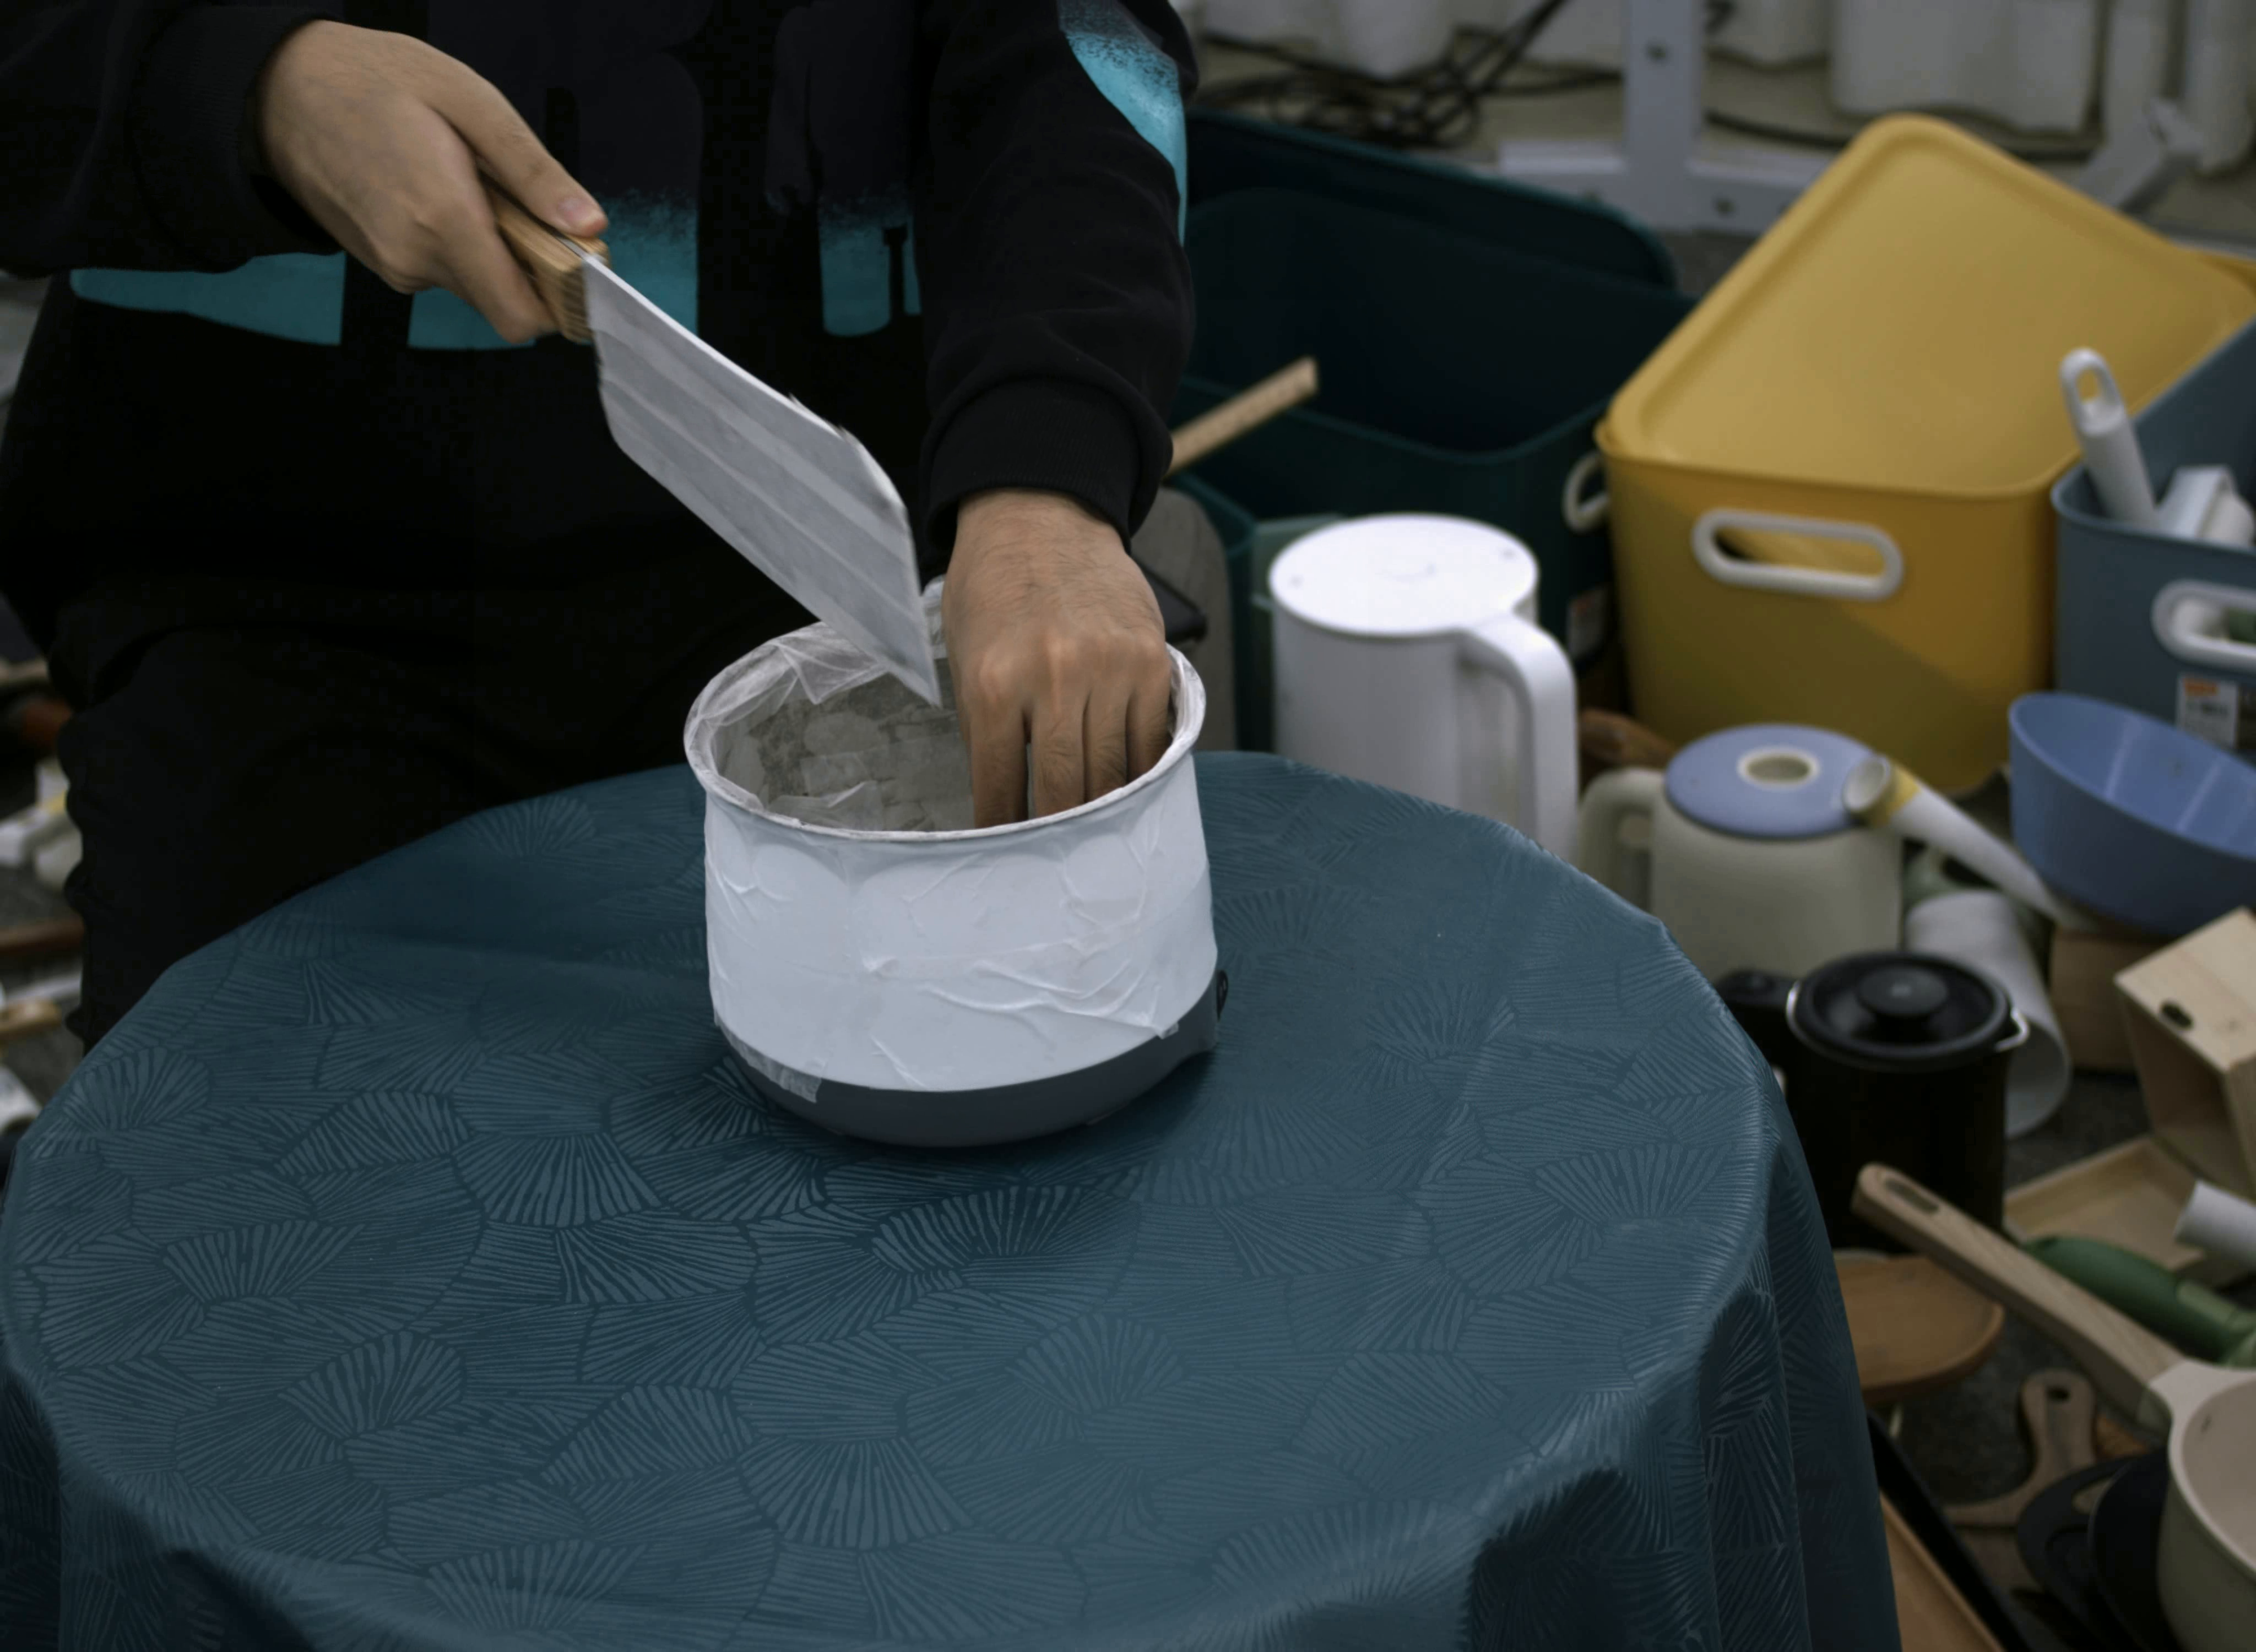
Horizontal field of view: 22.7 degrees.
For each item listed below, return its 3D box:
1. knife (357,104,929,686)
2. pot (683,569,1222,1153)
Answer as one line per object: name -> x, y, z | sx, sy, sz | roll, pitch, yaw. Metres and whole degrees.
knife -> -0.165, -0.157, 1.895 | 0.022, 0.112, 0.317 | -31, 52, -25
pot -> -0.059, 0.005, 1.945 | 0.178, 0.135, 0.237 | -3, 28, -1
